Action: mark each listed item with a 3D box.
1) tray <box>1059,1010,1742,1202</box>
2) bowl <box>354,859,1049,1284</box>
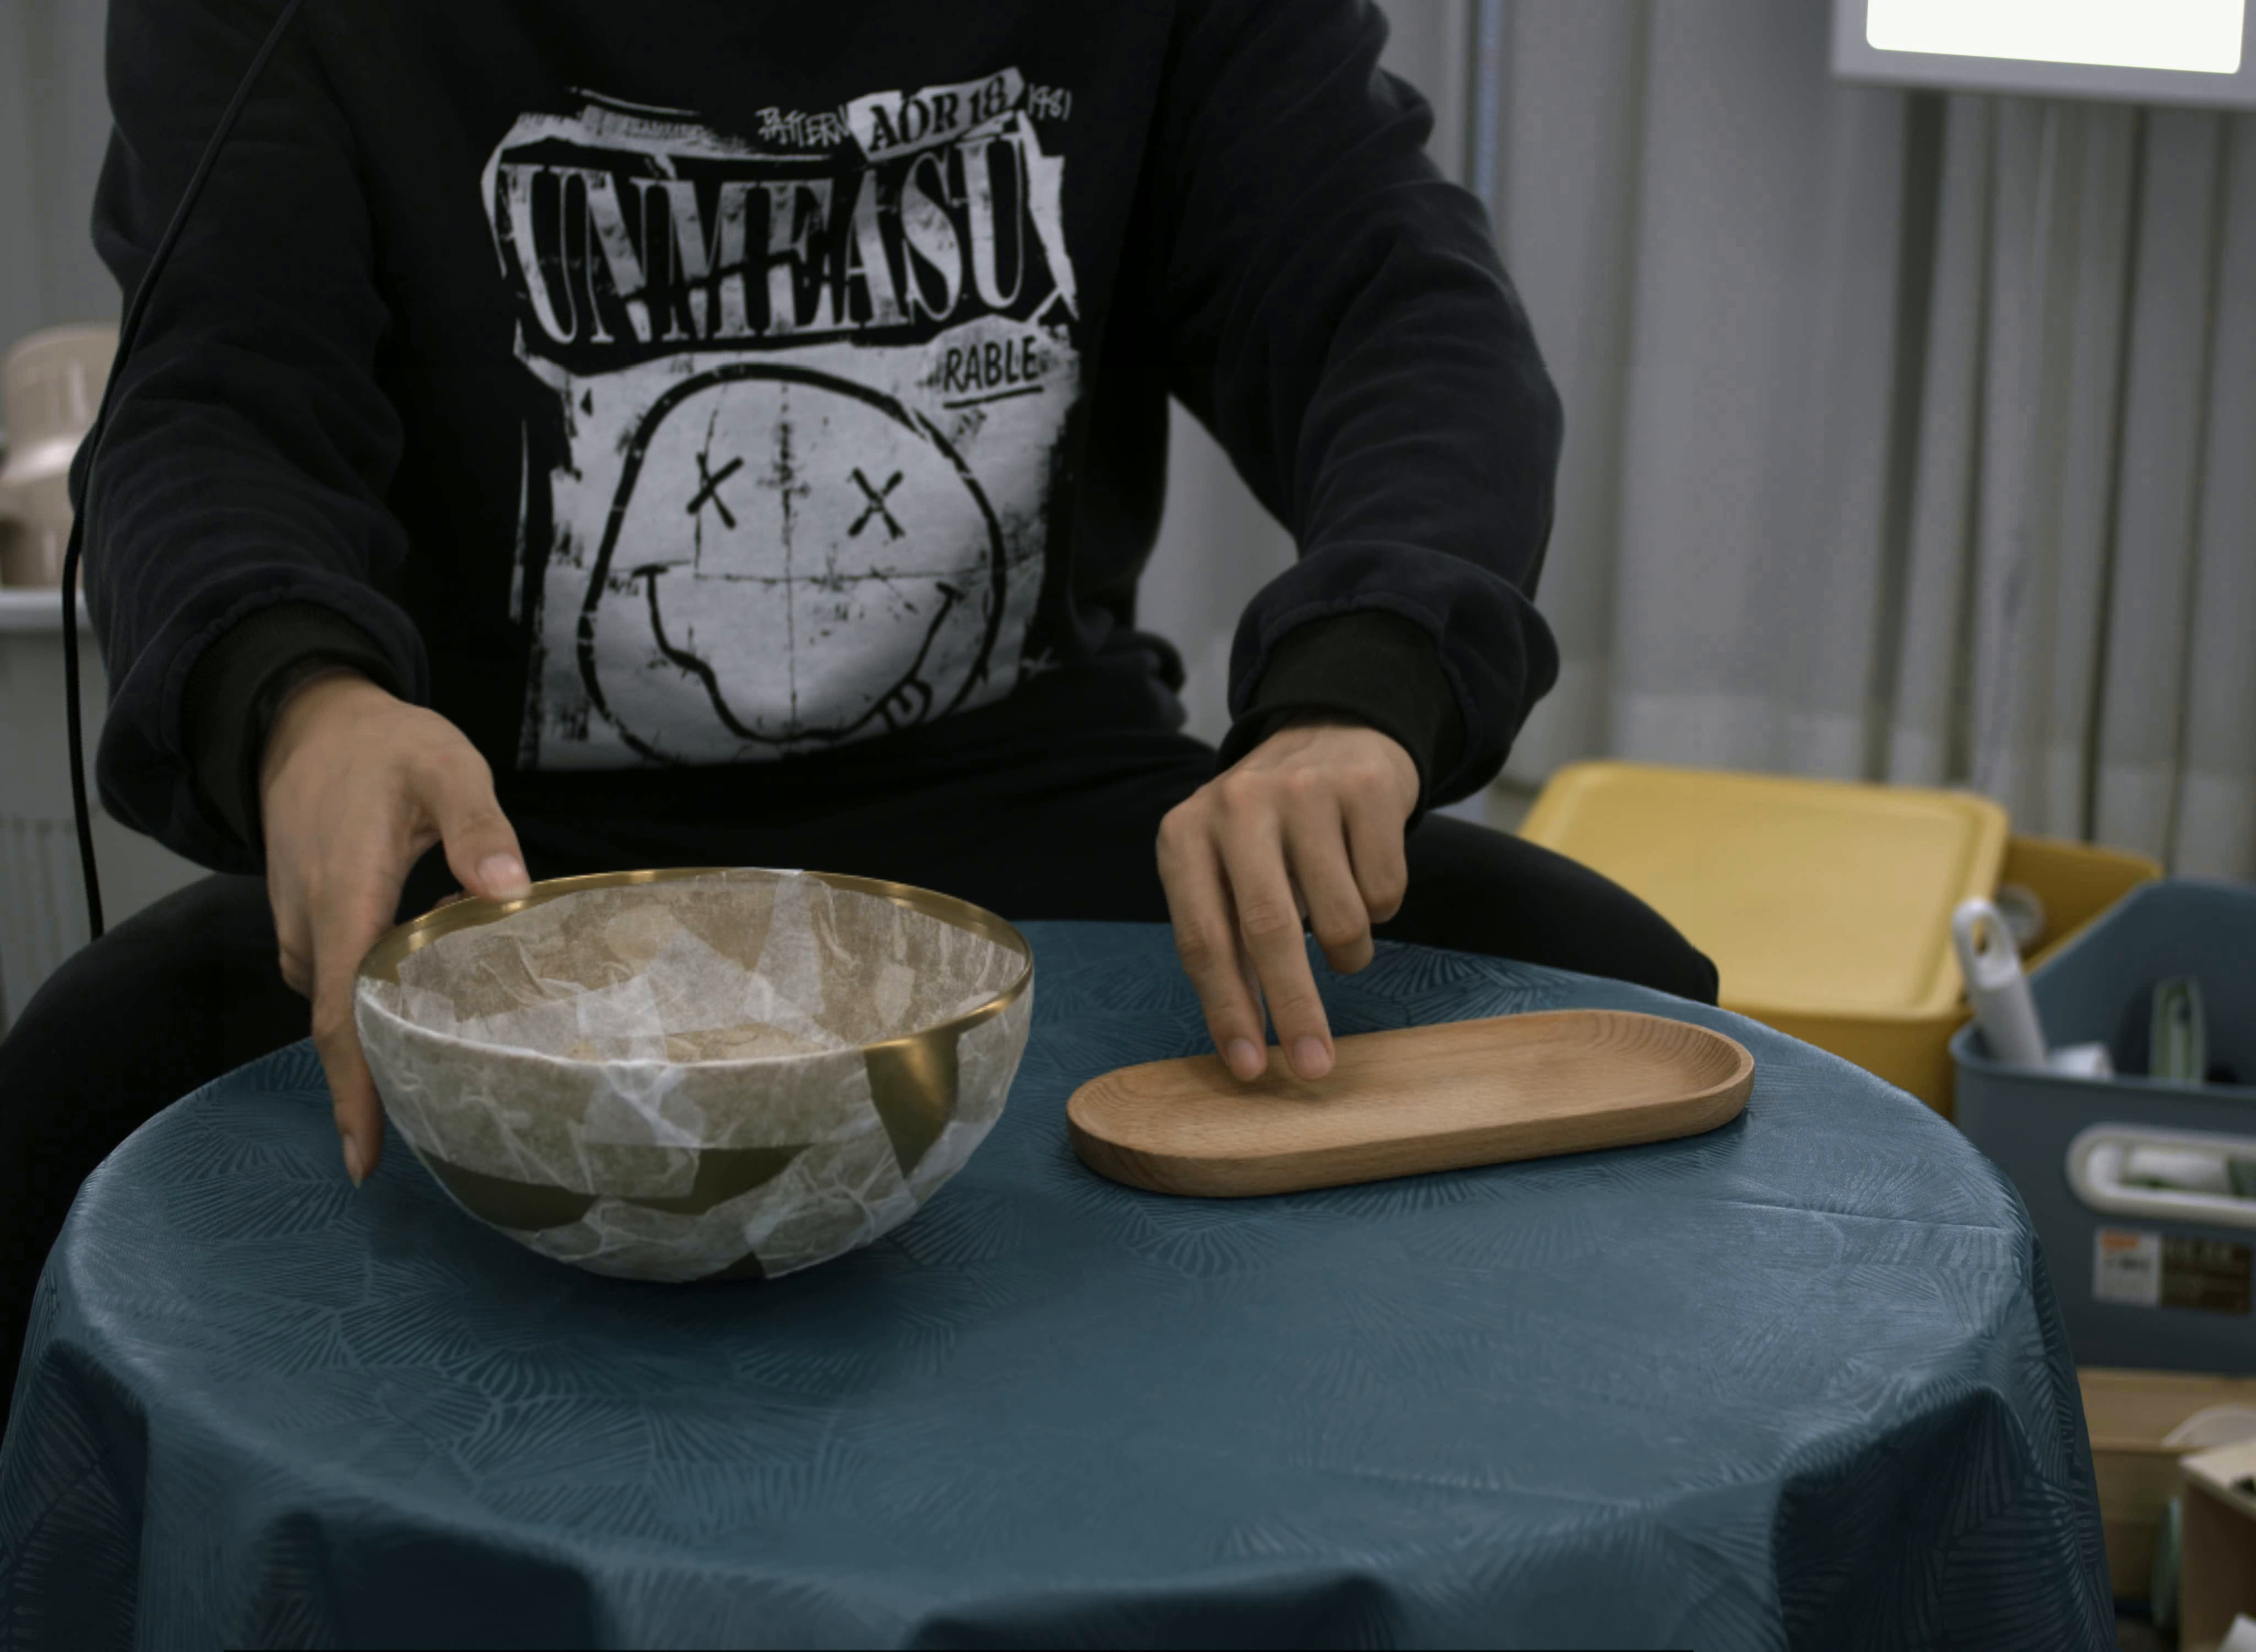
[{"bbox_3d":[0.089,0.089,1.684,0.232,0.020,0.100,-8,16,-23],"label":"tray"},{"bbox_3d":[-0.123,0.080,1.564,0.214,0.095,0.213,0,16,1],"label":"bowl"}]
